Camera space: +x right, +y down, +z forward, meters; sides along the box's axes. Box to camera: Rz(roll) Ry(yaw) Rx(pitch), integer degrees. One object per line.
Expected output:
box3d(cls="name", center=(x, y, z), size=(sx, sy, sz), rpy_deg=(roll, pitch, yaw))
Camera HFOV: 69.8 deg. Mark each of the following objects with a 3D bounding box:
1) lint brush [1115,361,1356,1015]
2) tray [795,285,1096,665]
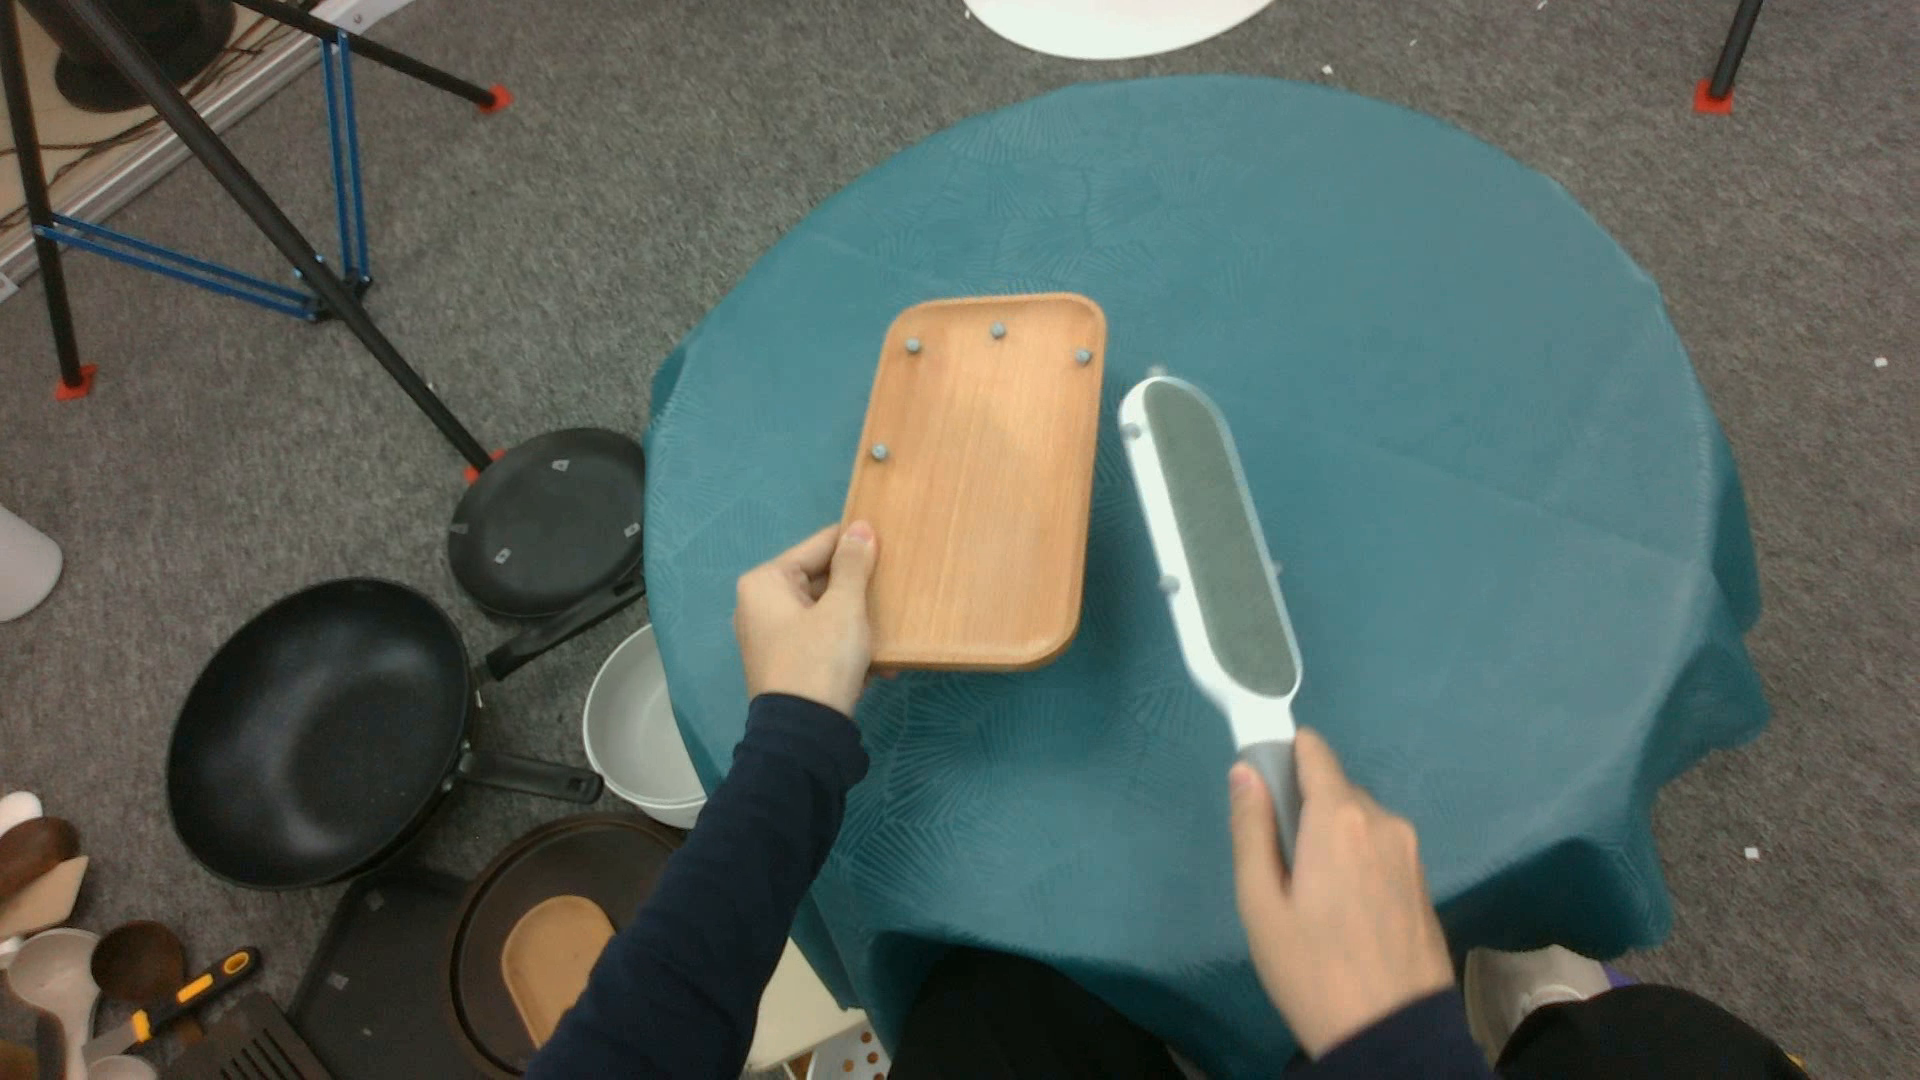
box3d(cls="lint brush", center=(0.117, 0.047, 0.599), size=(0.060, 0.021, 0.310), rpy_deg=(13, 53, -34))
box3d(cls="tray", center=(-0.001, -0.042, 0.715), size=(0.130, 0.023, 0.252), rpy_deg=(0, 53, 15))
